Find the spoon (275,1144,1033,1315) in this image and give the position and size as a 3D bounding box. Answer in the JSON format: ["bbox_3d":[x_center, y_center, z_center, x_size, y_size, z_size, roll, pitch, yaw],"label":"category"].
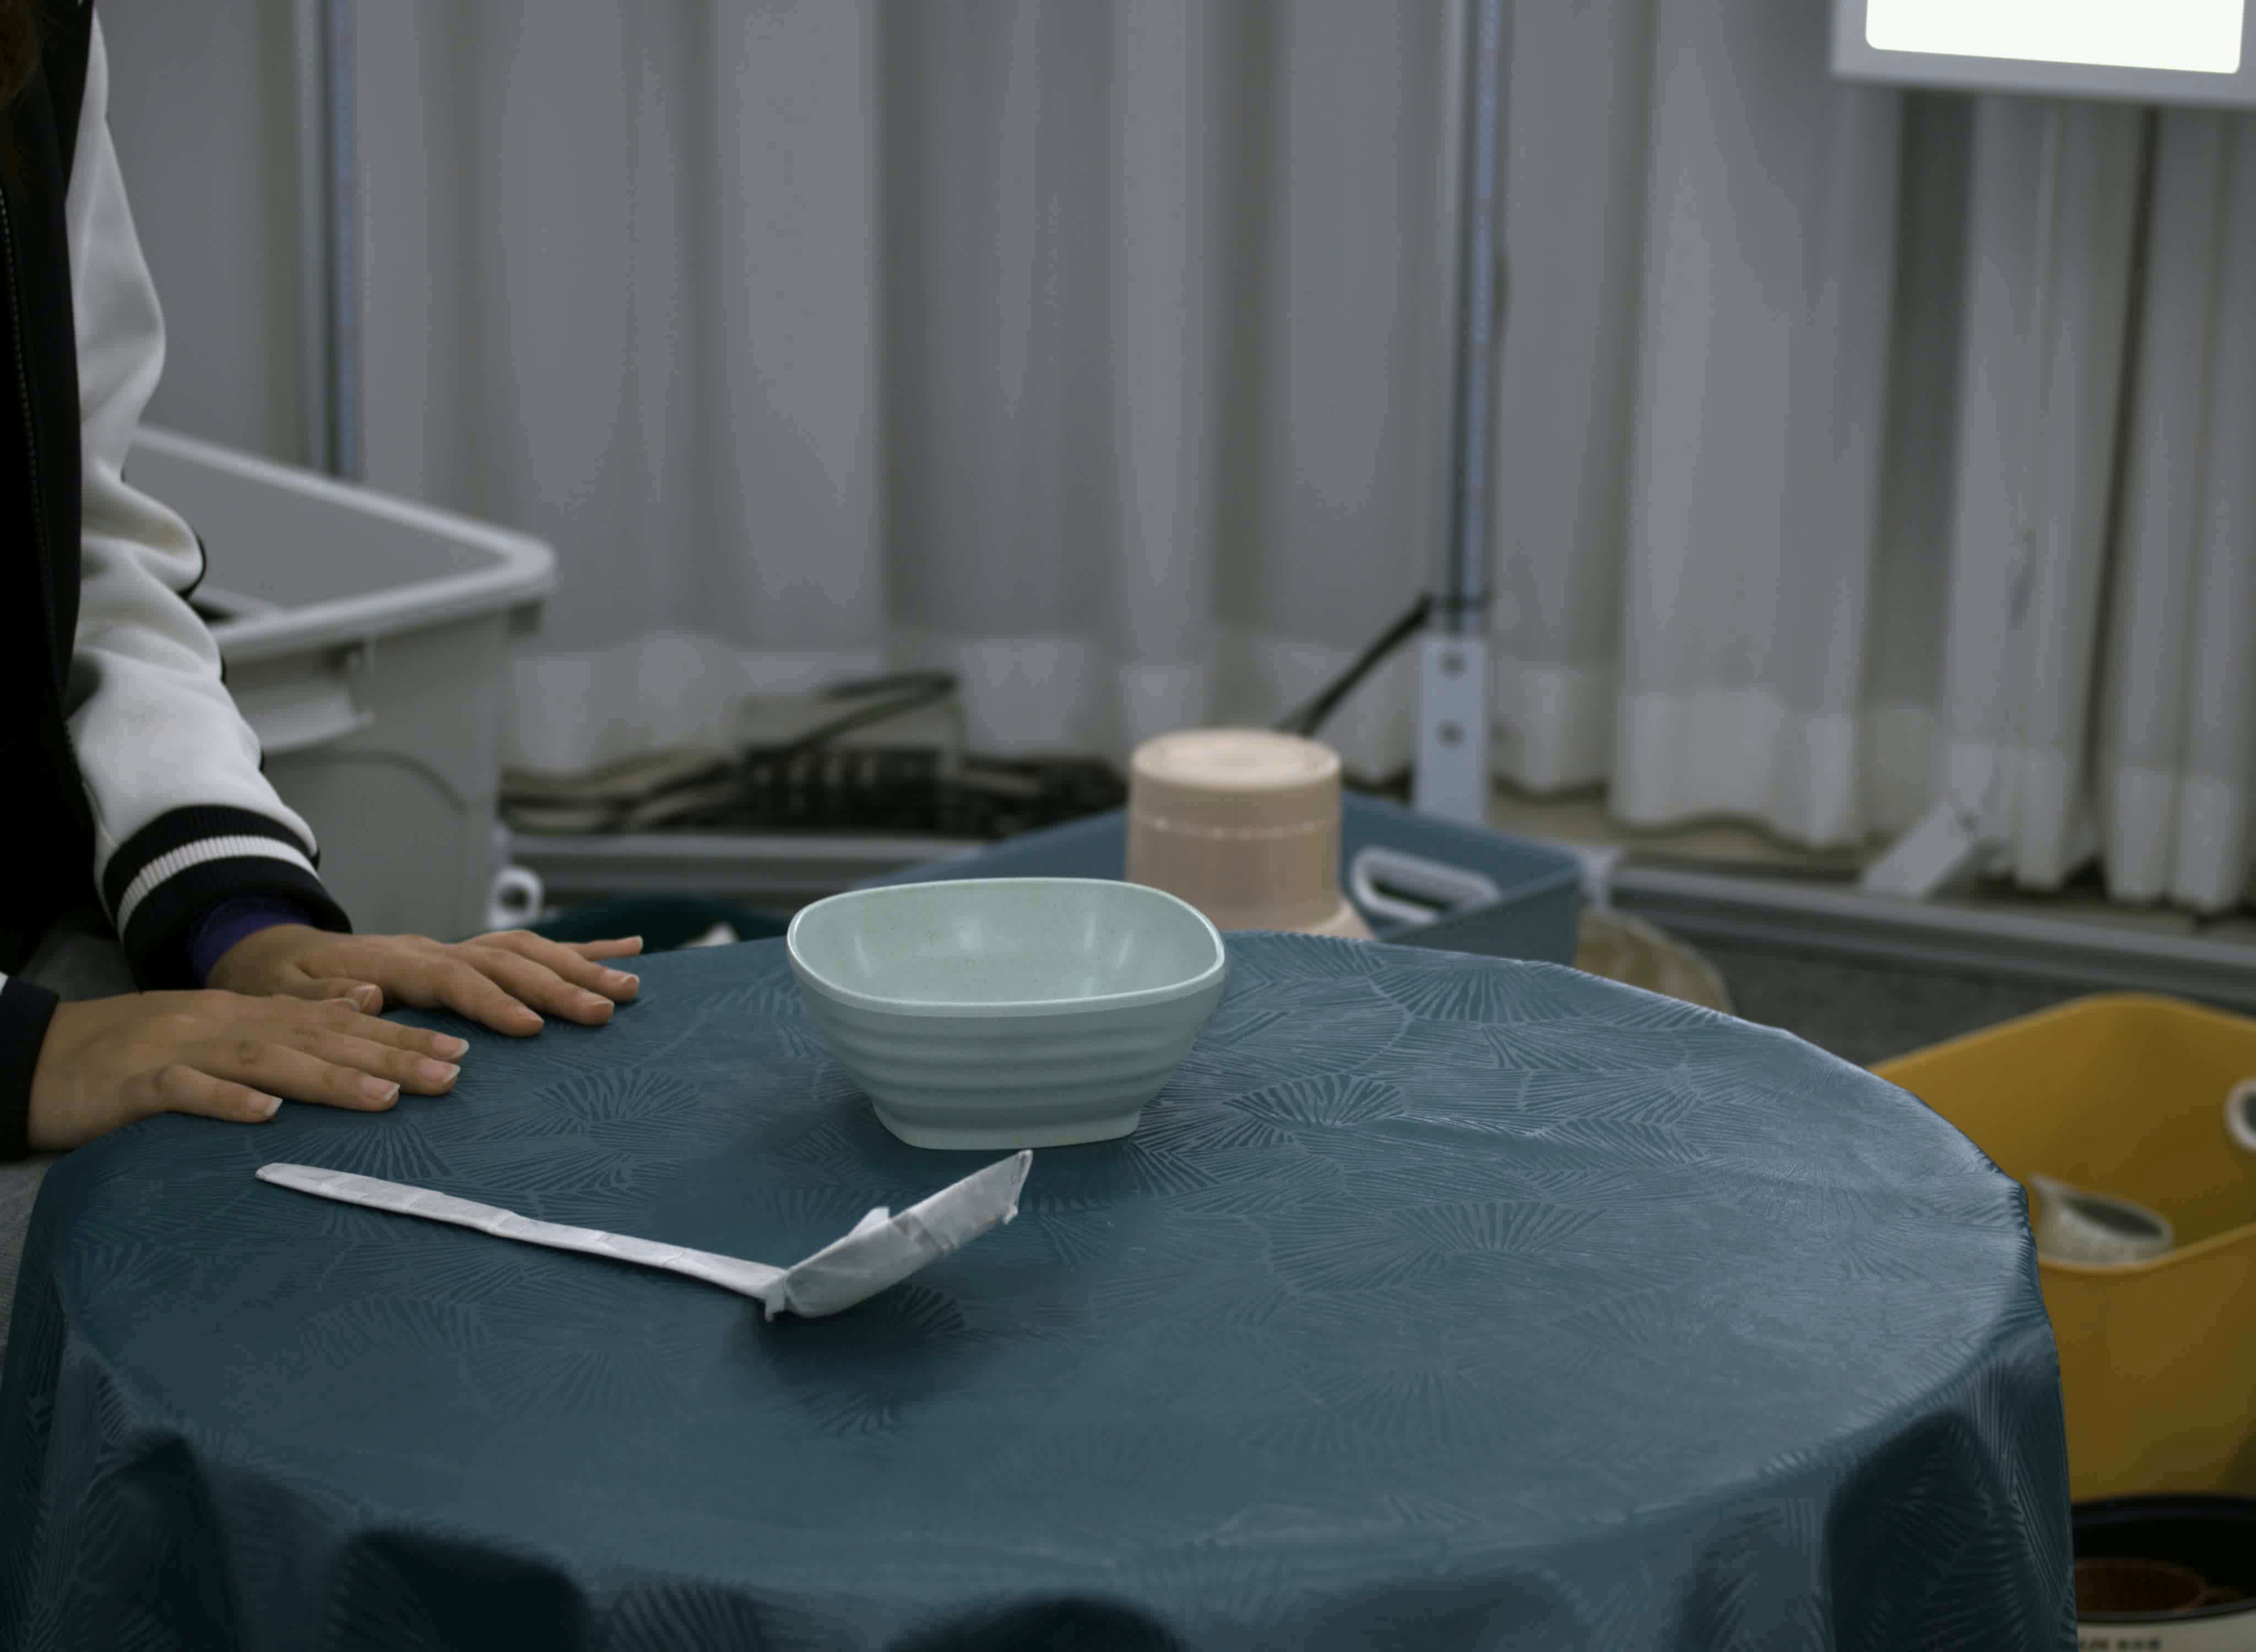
[{"bbox_3d":[-0.148,0.098,1.560,0.274,0.060,0.101,11,15,34],"label":"spoon"}]

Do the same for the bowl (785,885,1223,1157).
[{"bbox_3d":[-0.040,0.065,1.690,0.151,0.059,0.150,1,16,0],"label":"bowl"}]
